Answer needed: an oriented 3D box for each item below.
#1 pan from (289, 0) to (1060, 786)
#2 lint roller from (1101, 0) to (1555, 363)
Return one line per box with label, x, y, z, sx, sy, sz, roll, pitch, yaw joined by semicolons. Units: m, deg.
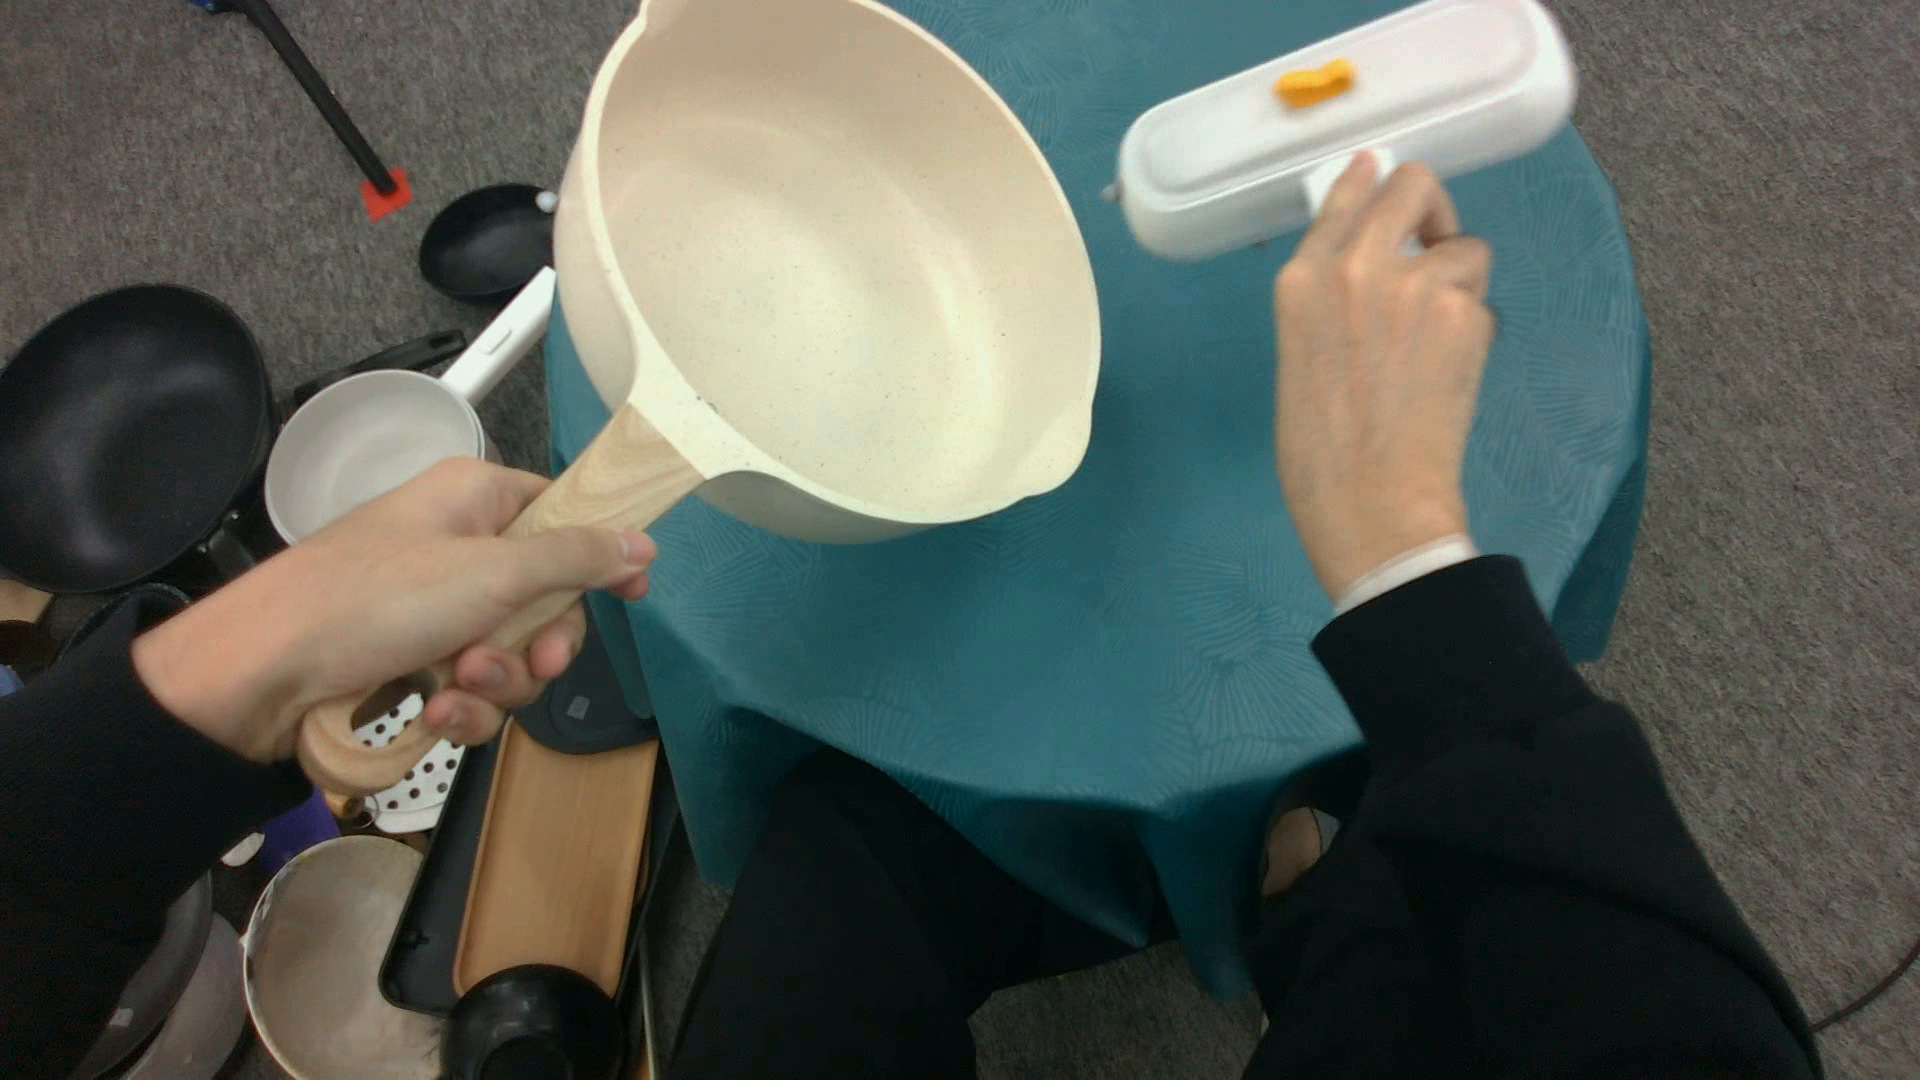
pan;-0.111;-0.069;0.546;0.263;0.101;0.437;47;49;-16
lint roller;0.162;-0.142;0.564;0.192;0.074;0.193;-12;60;7
